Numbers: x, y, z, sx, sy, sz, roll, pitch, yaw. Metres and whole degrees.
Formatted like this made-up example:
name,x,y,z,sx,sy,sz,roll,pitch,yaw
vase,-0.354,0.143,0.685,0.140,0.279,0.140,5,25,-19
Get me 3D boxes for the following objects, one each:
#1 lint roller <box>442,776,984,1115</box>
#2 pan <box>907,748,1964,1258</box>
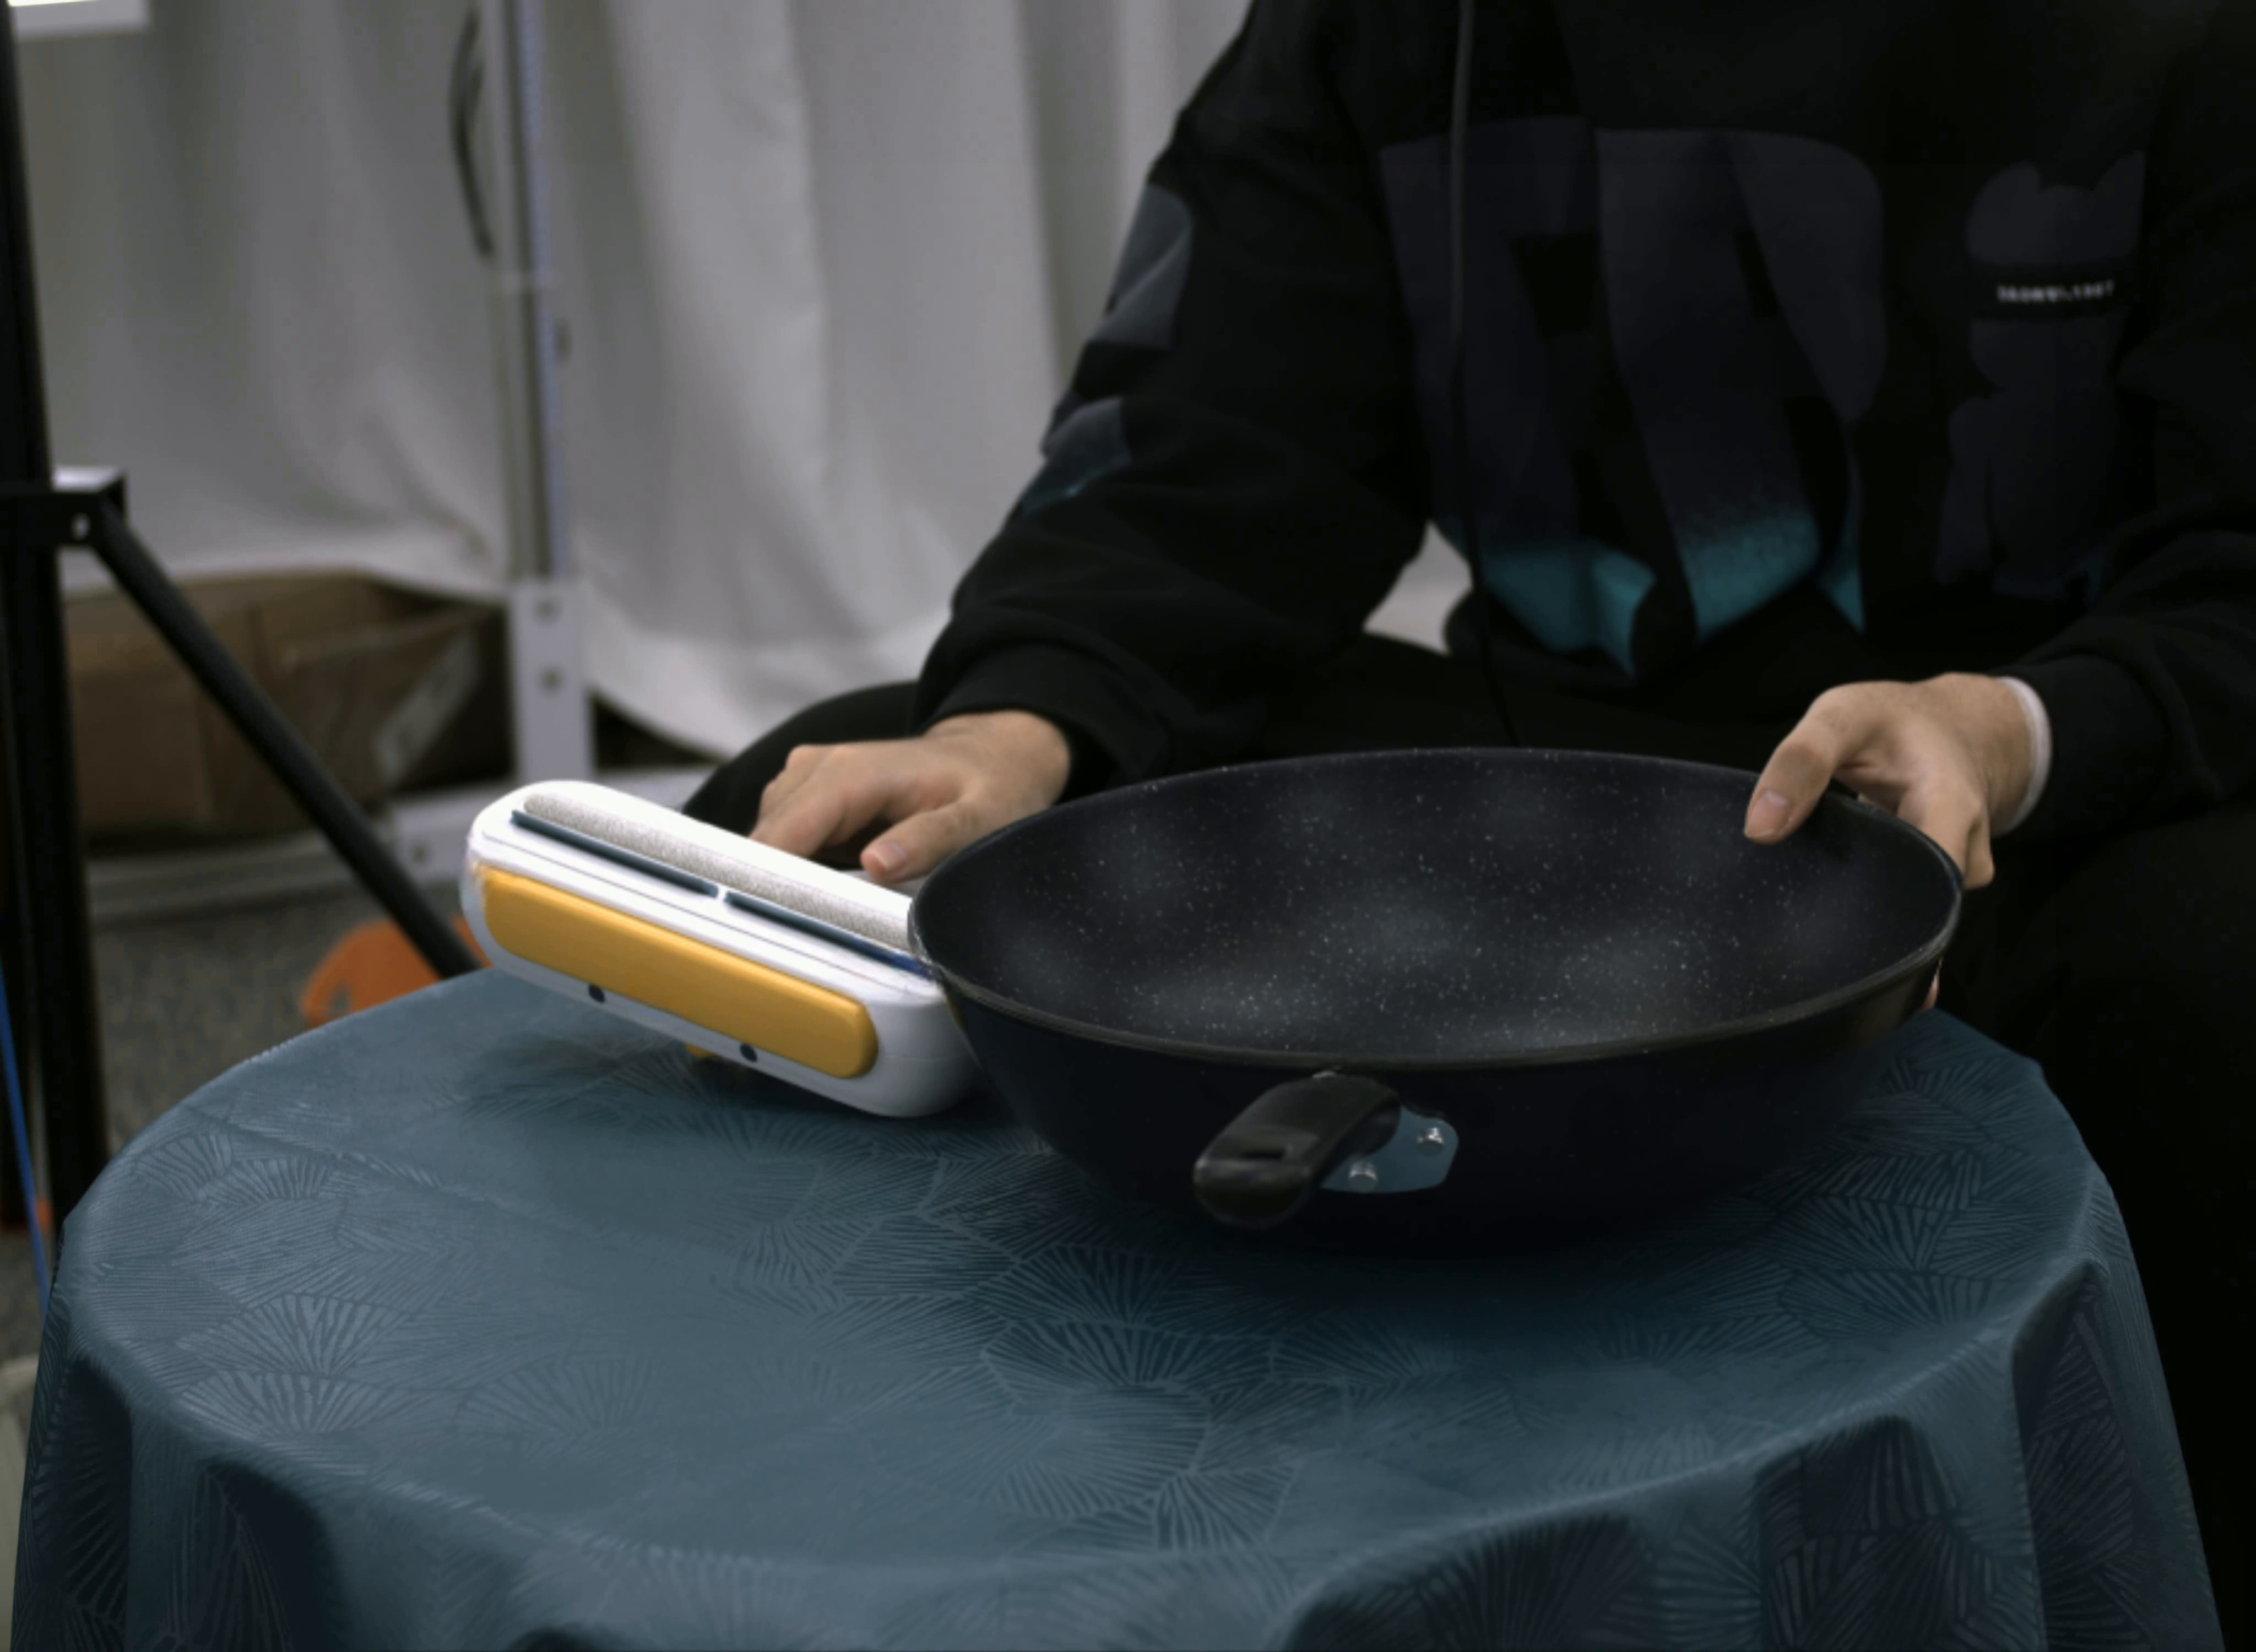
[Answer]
name,x,y,z,sx,sy,sz,roll,pitch,yaw
lint roller,-0.099,0.030,1.726,0.196,0.074,0.188,16,21,31
pan,0.075,0.071,1.482,0.312,0.111,0.474,-1,16,12
